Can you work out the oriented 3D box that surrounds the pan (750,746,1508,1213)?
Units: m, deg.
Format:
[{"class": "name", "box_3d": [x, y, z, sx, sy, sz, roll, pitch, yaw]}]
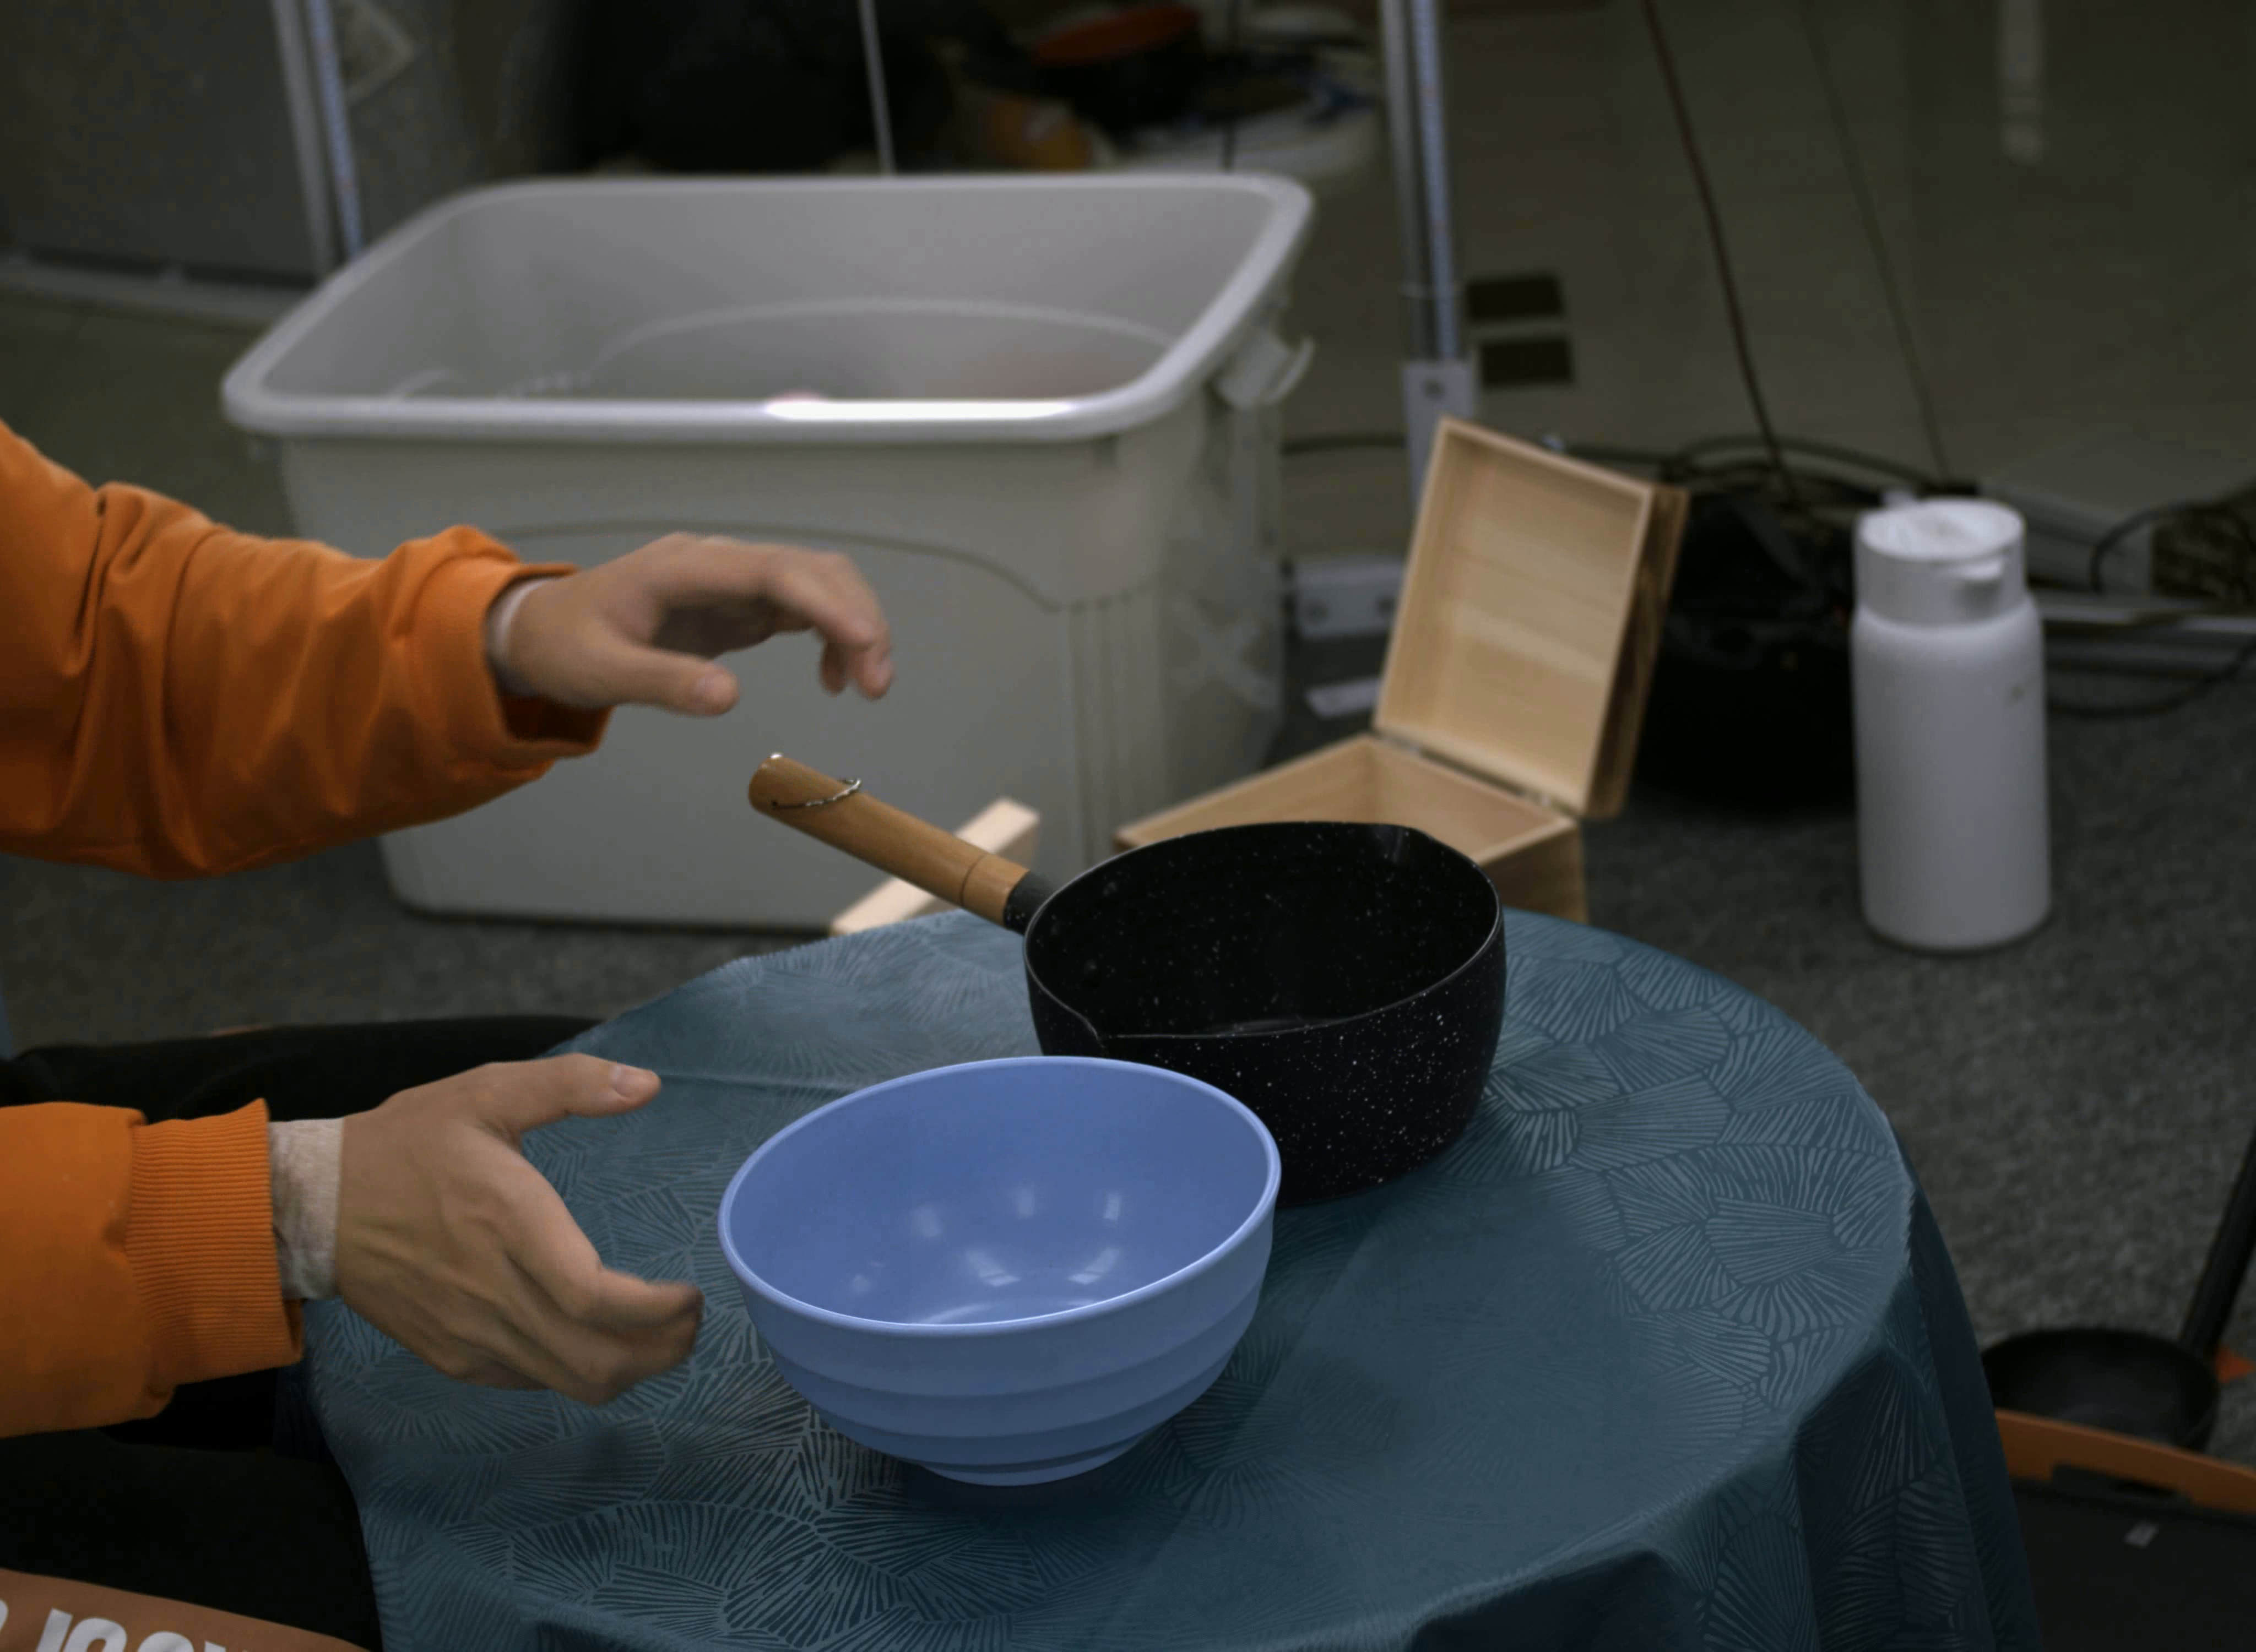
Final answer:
[{"class": "pan", "box_3d": [-0.010, 0.051, 2.209, 0.341, 0.110, 0.205, 14, 33, 34]}]

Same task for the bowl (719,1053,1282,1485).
[{"class": "bowl", "box_3d": [-0.040, 0.166, 1.984, 0.196, 0.097, 0.193, -5, 26, 3]}]
